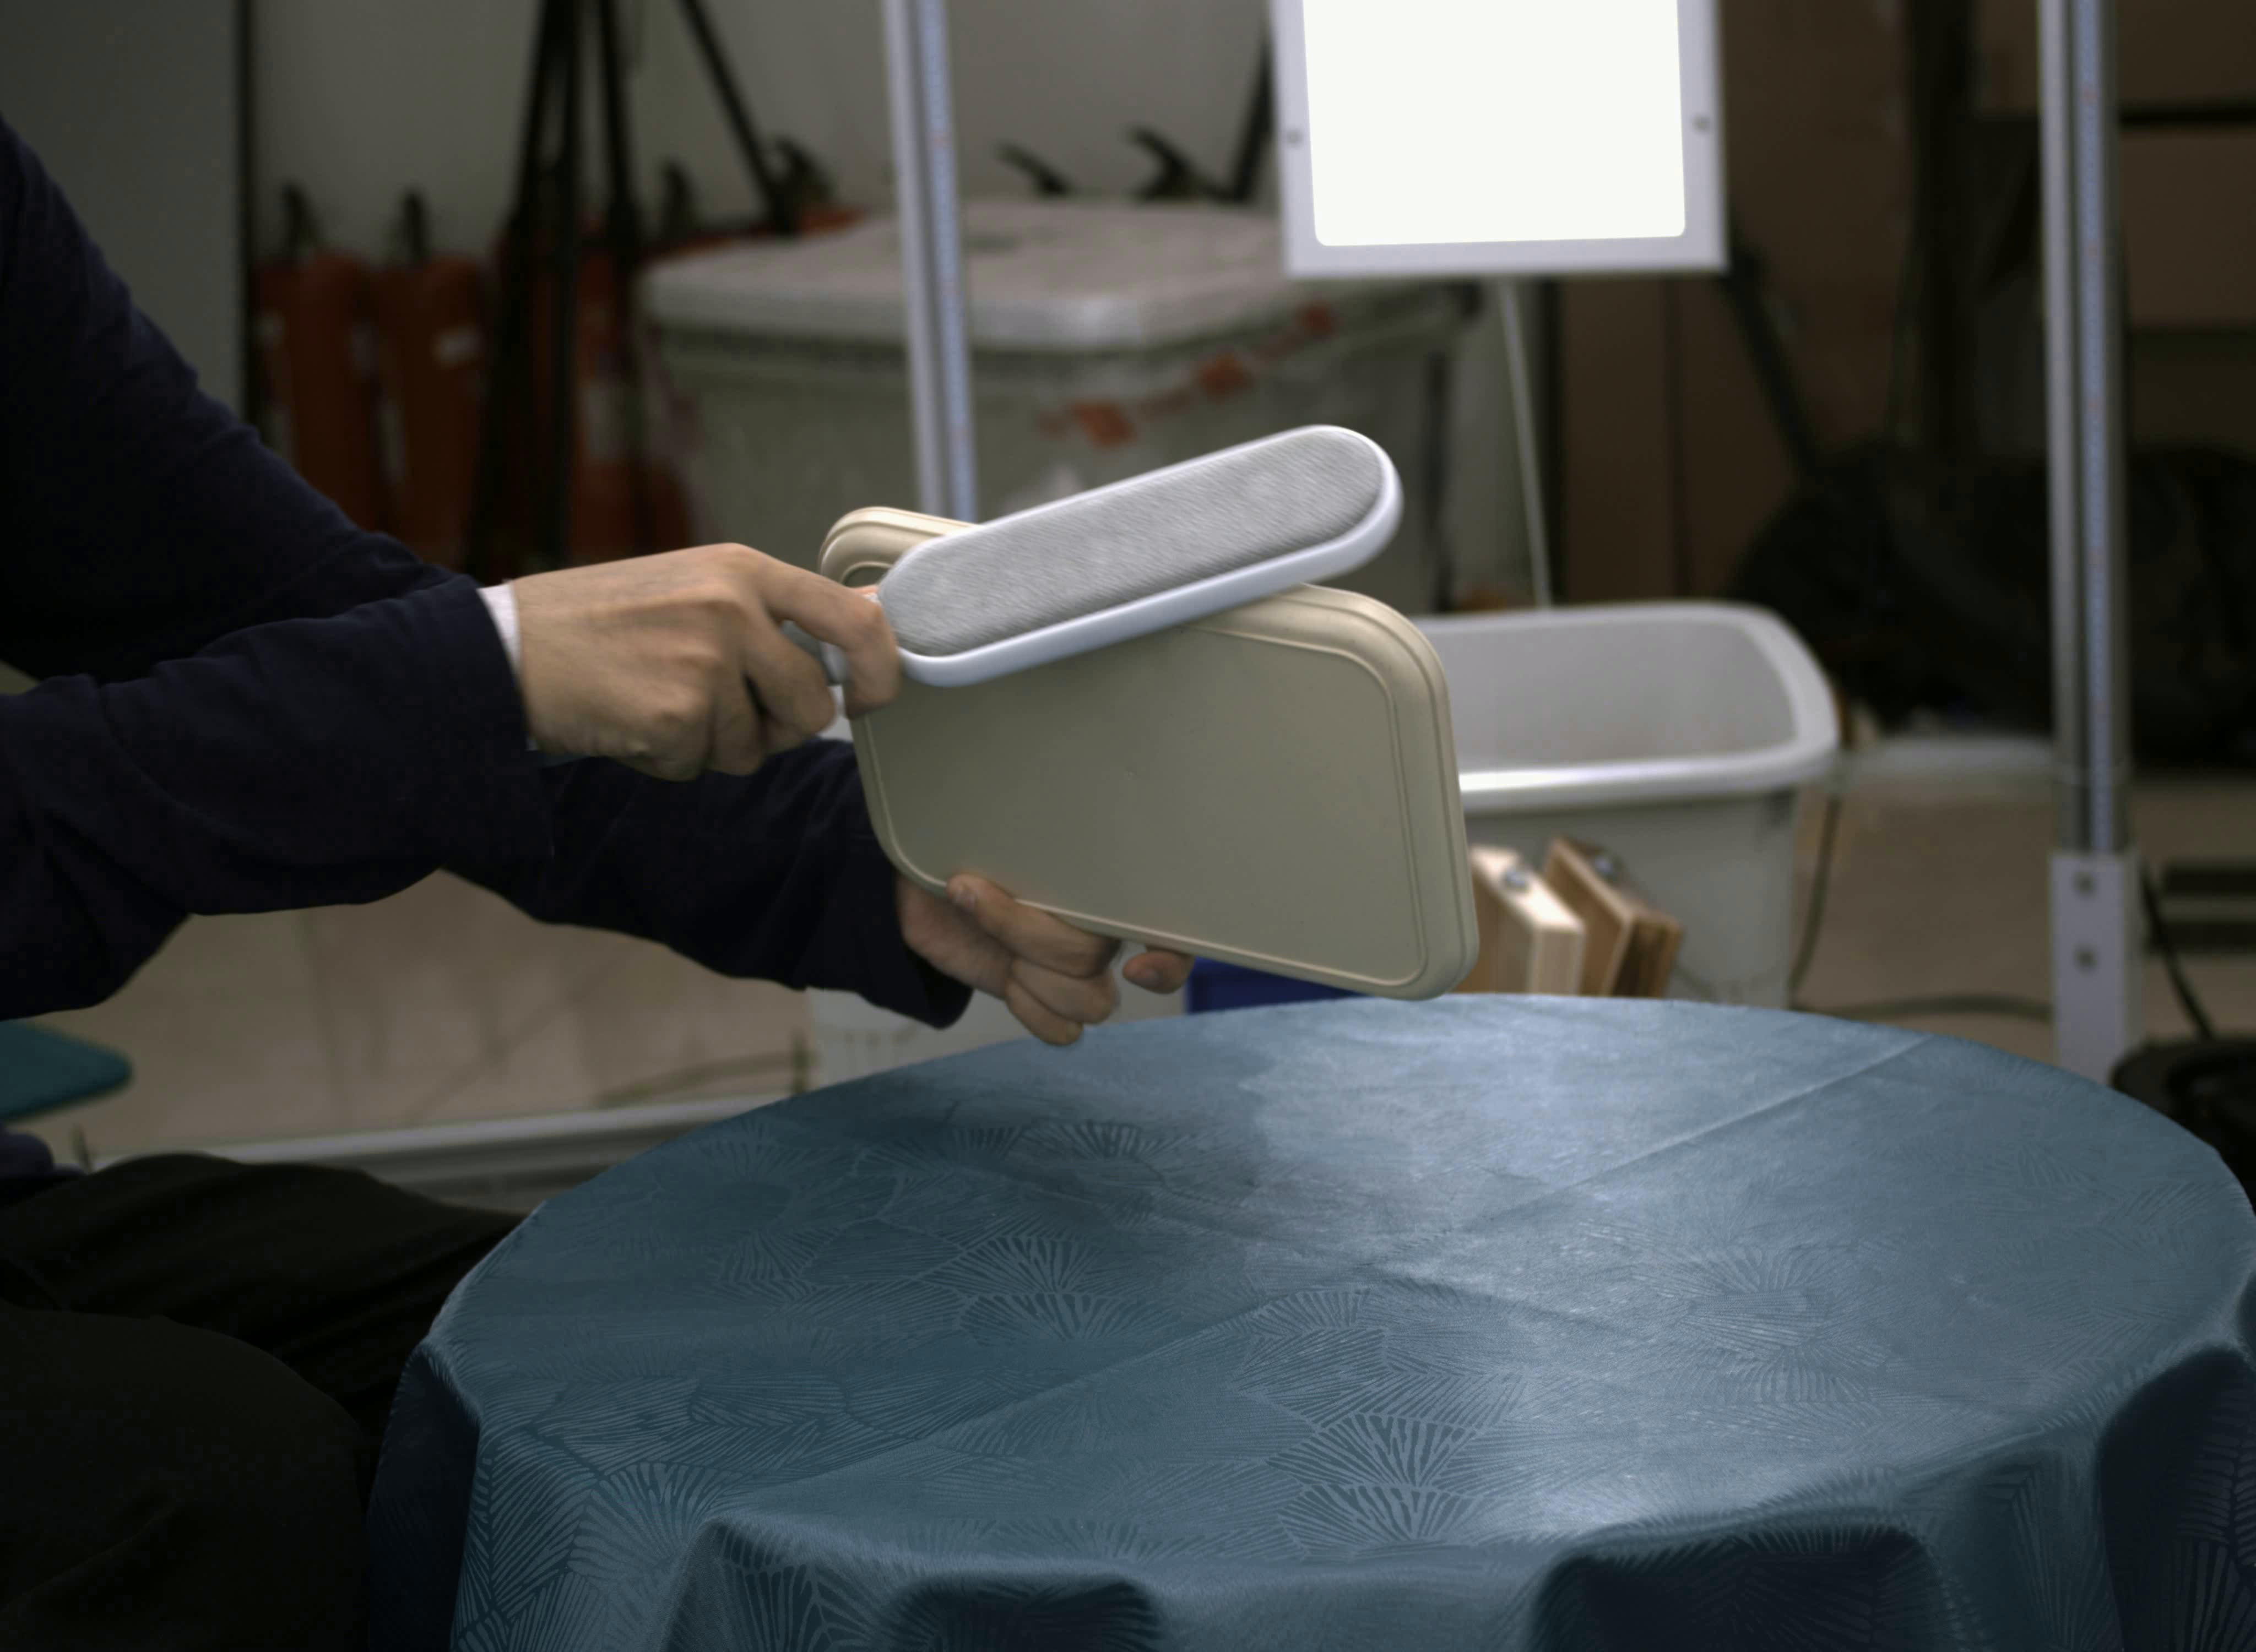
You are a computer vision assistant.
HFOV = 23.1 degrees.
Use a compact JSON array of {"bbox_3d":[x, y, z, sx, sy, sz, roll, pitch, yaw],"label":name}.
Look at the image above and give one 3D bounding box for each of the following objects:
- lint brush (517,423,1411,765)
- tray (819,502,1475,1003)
[{"bbox_3d":[-0.055,-0.073,1.817,0.310,0.021,0.060,-16,56,6],"label":"lint brush"},{"bbox_3d":[0.004,-0.022,1.881,0.243,0.171,0.017,13,44,27],"label":"tray"}]
